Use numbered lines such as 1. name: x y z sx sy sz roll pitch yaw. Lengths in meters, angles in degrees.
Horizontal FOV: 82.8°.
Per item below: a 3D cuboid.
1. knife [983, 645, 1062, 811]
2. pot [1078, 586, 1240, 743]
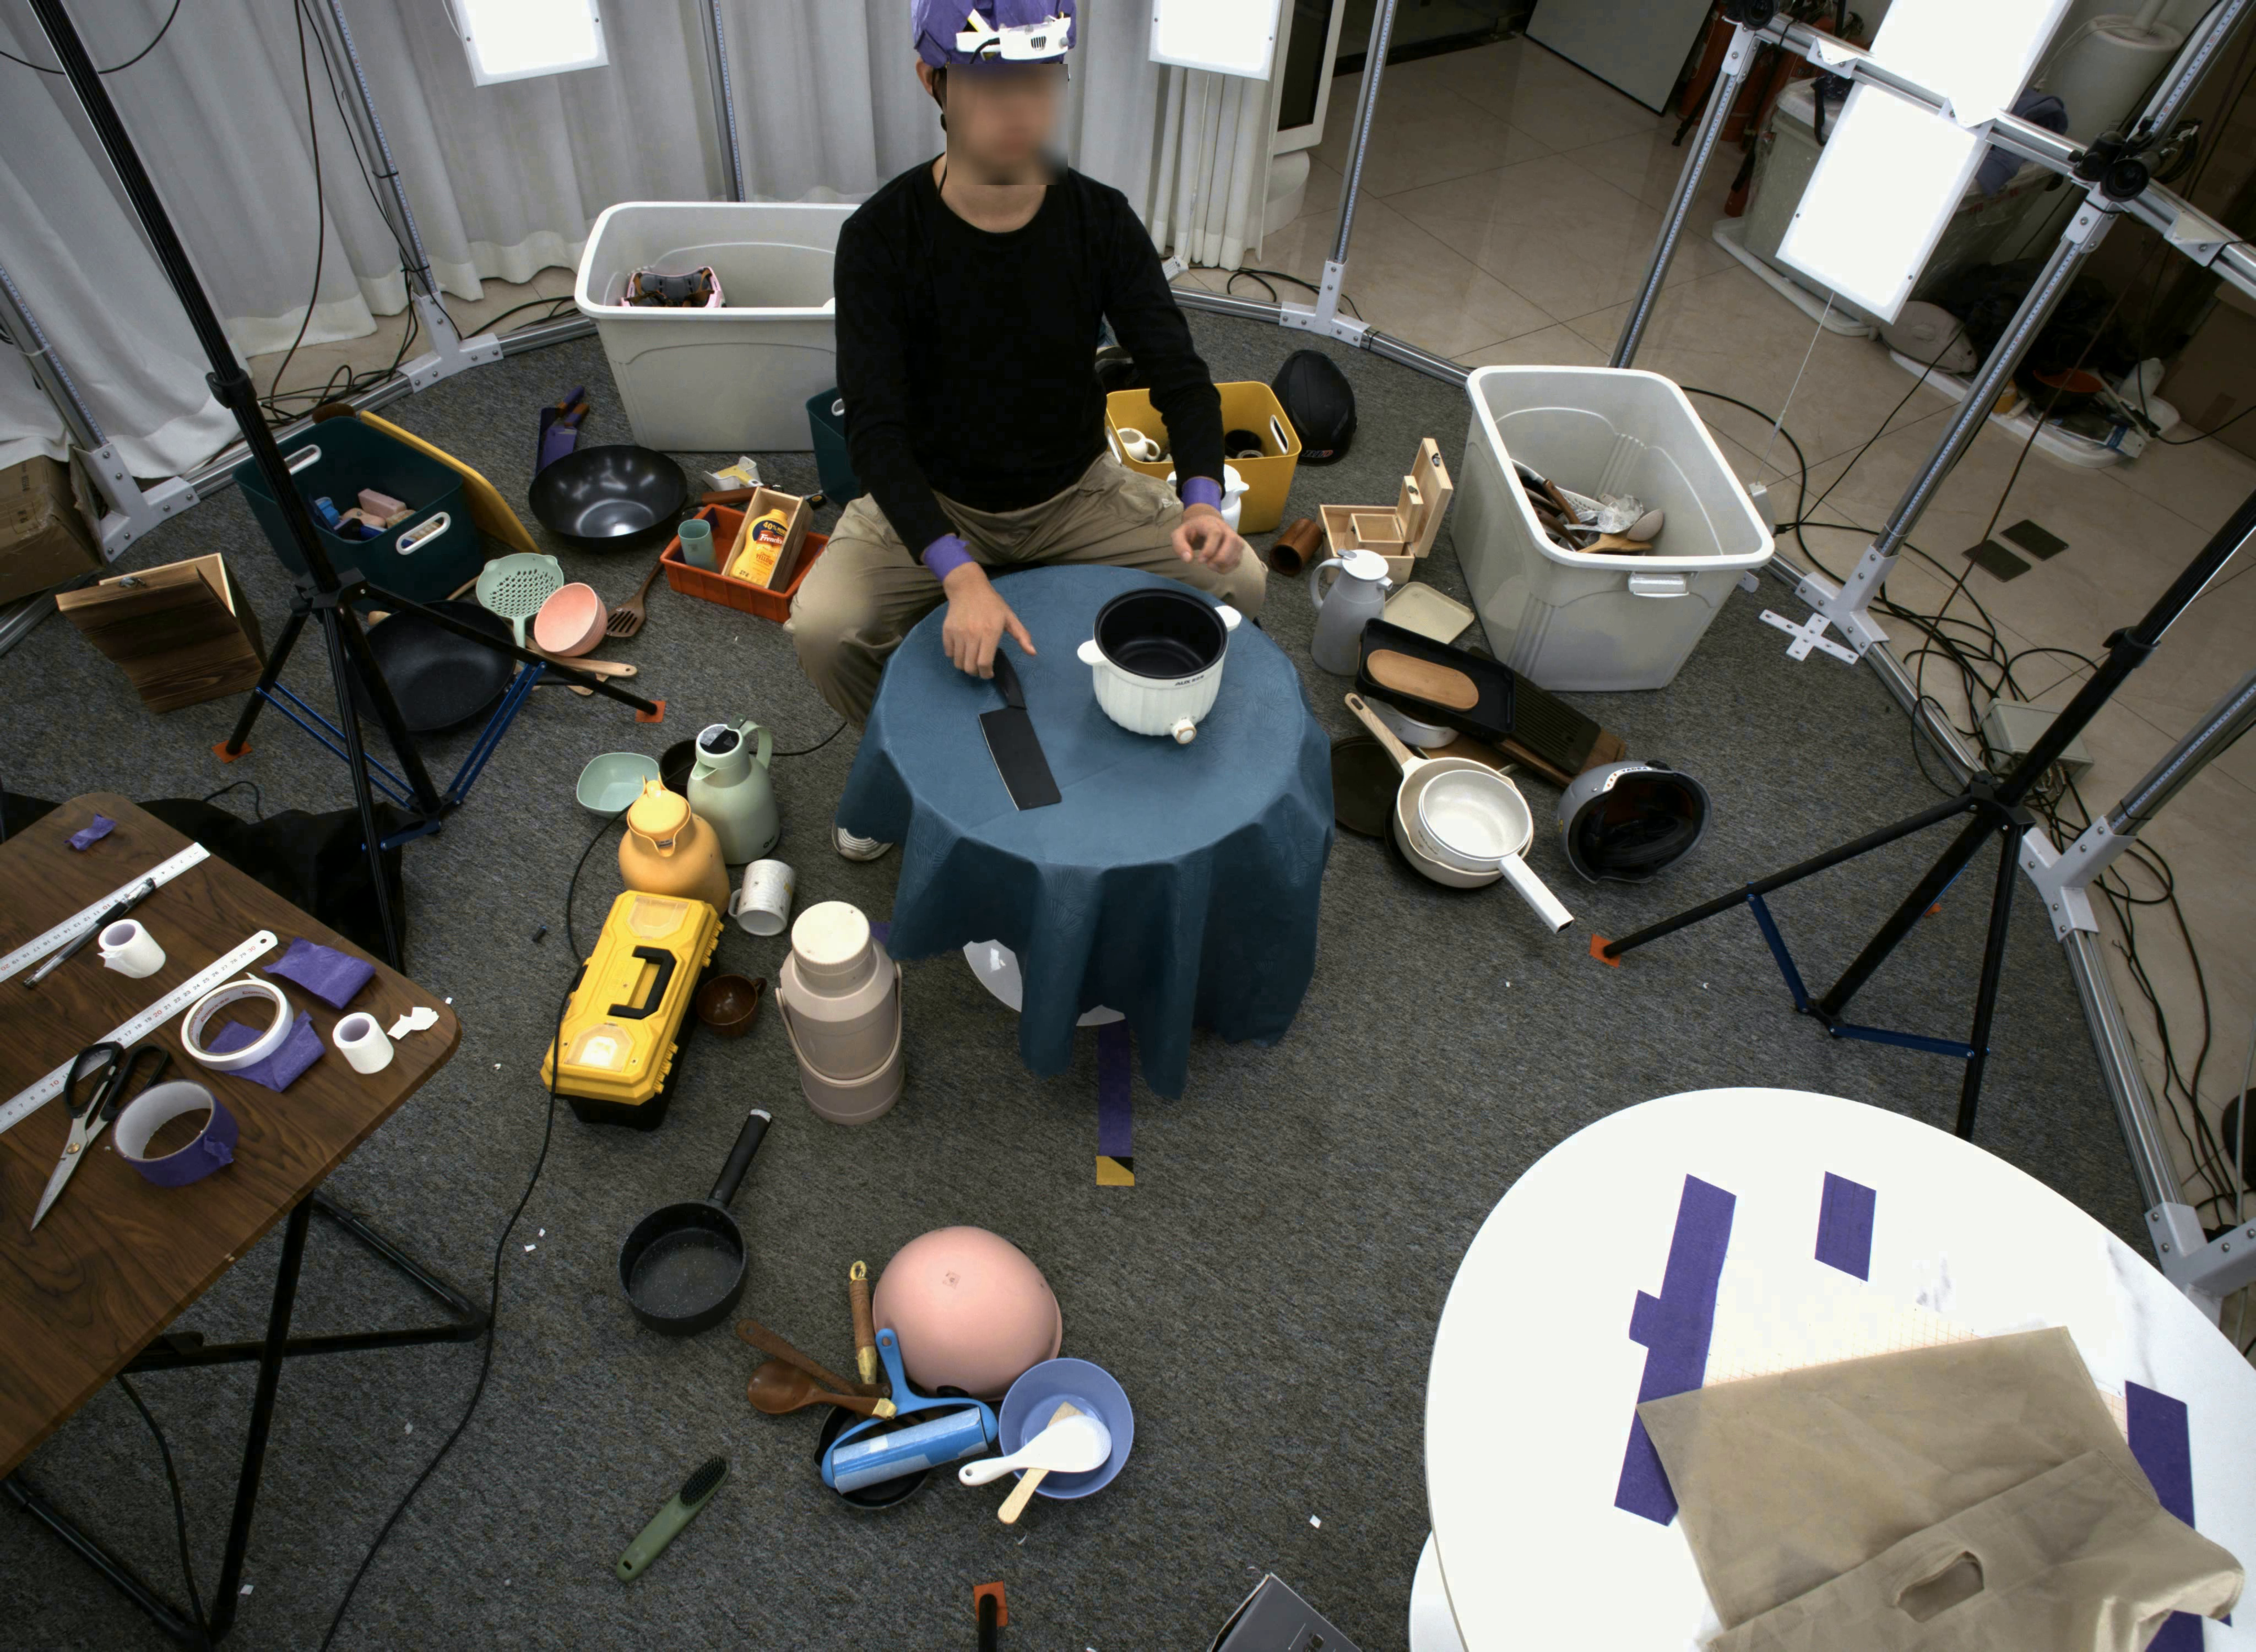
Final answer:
1. knife: -0.160 -0.141 1.773 0.081 0.020 0.310 -9 52 -10
2. pot: 0.044 -0.217 1.771 0.241 0.139 0.195 -18 50 -17
